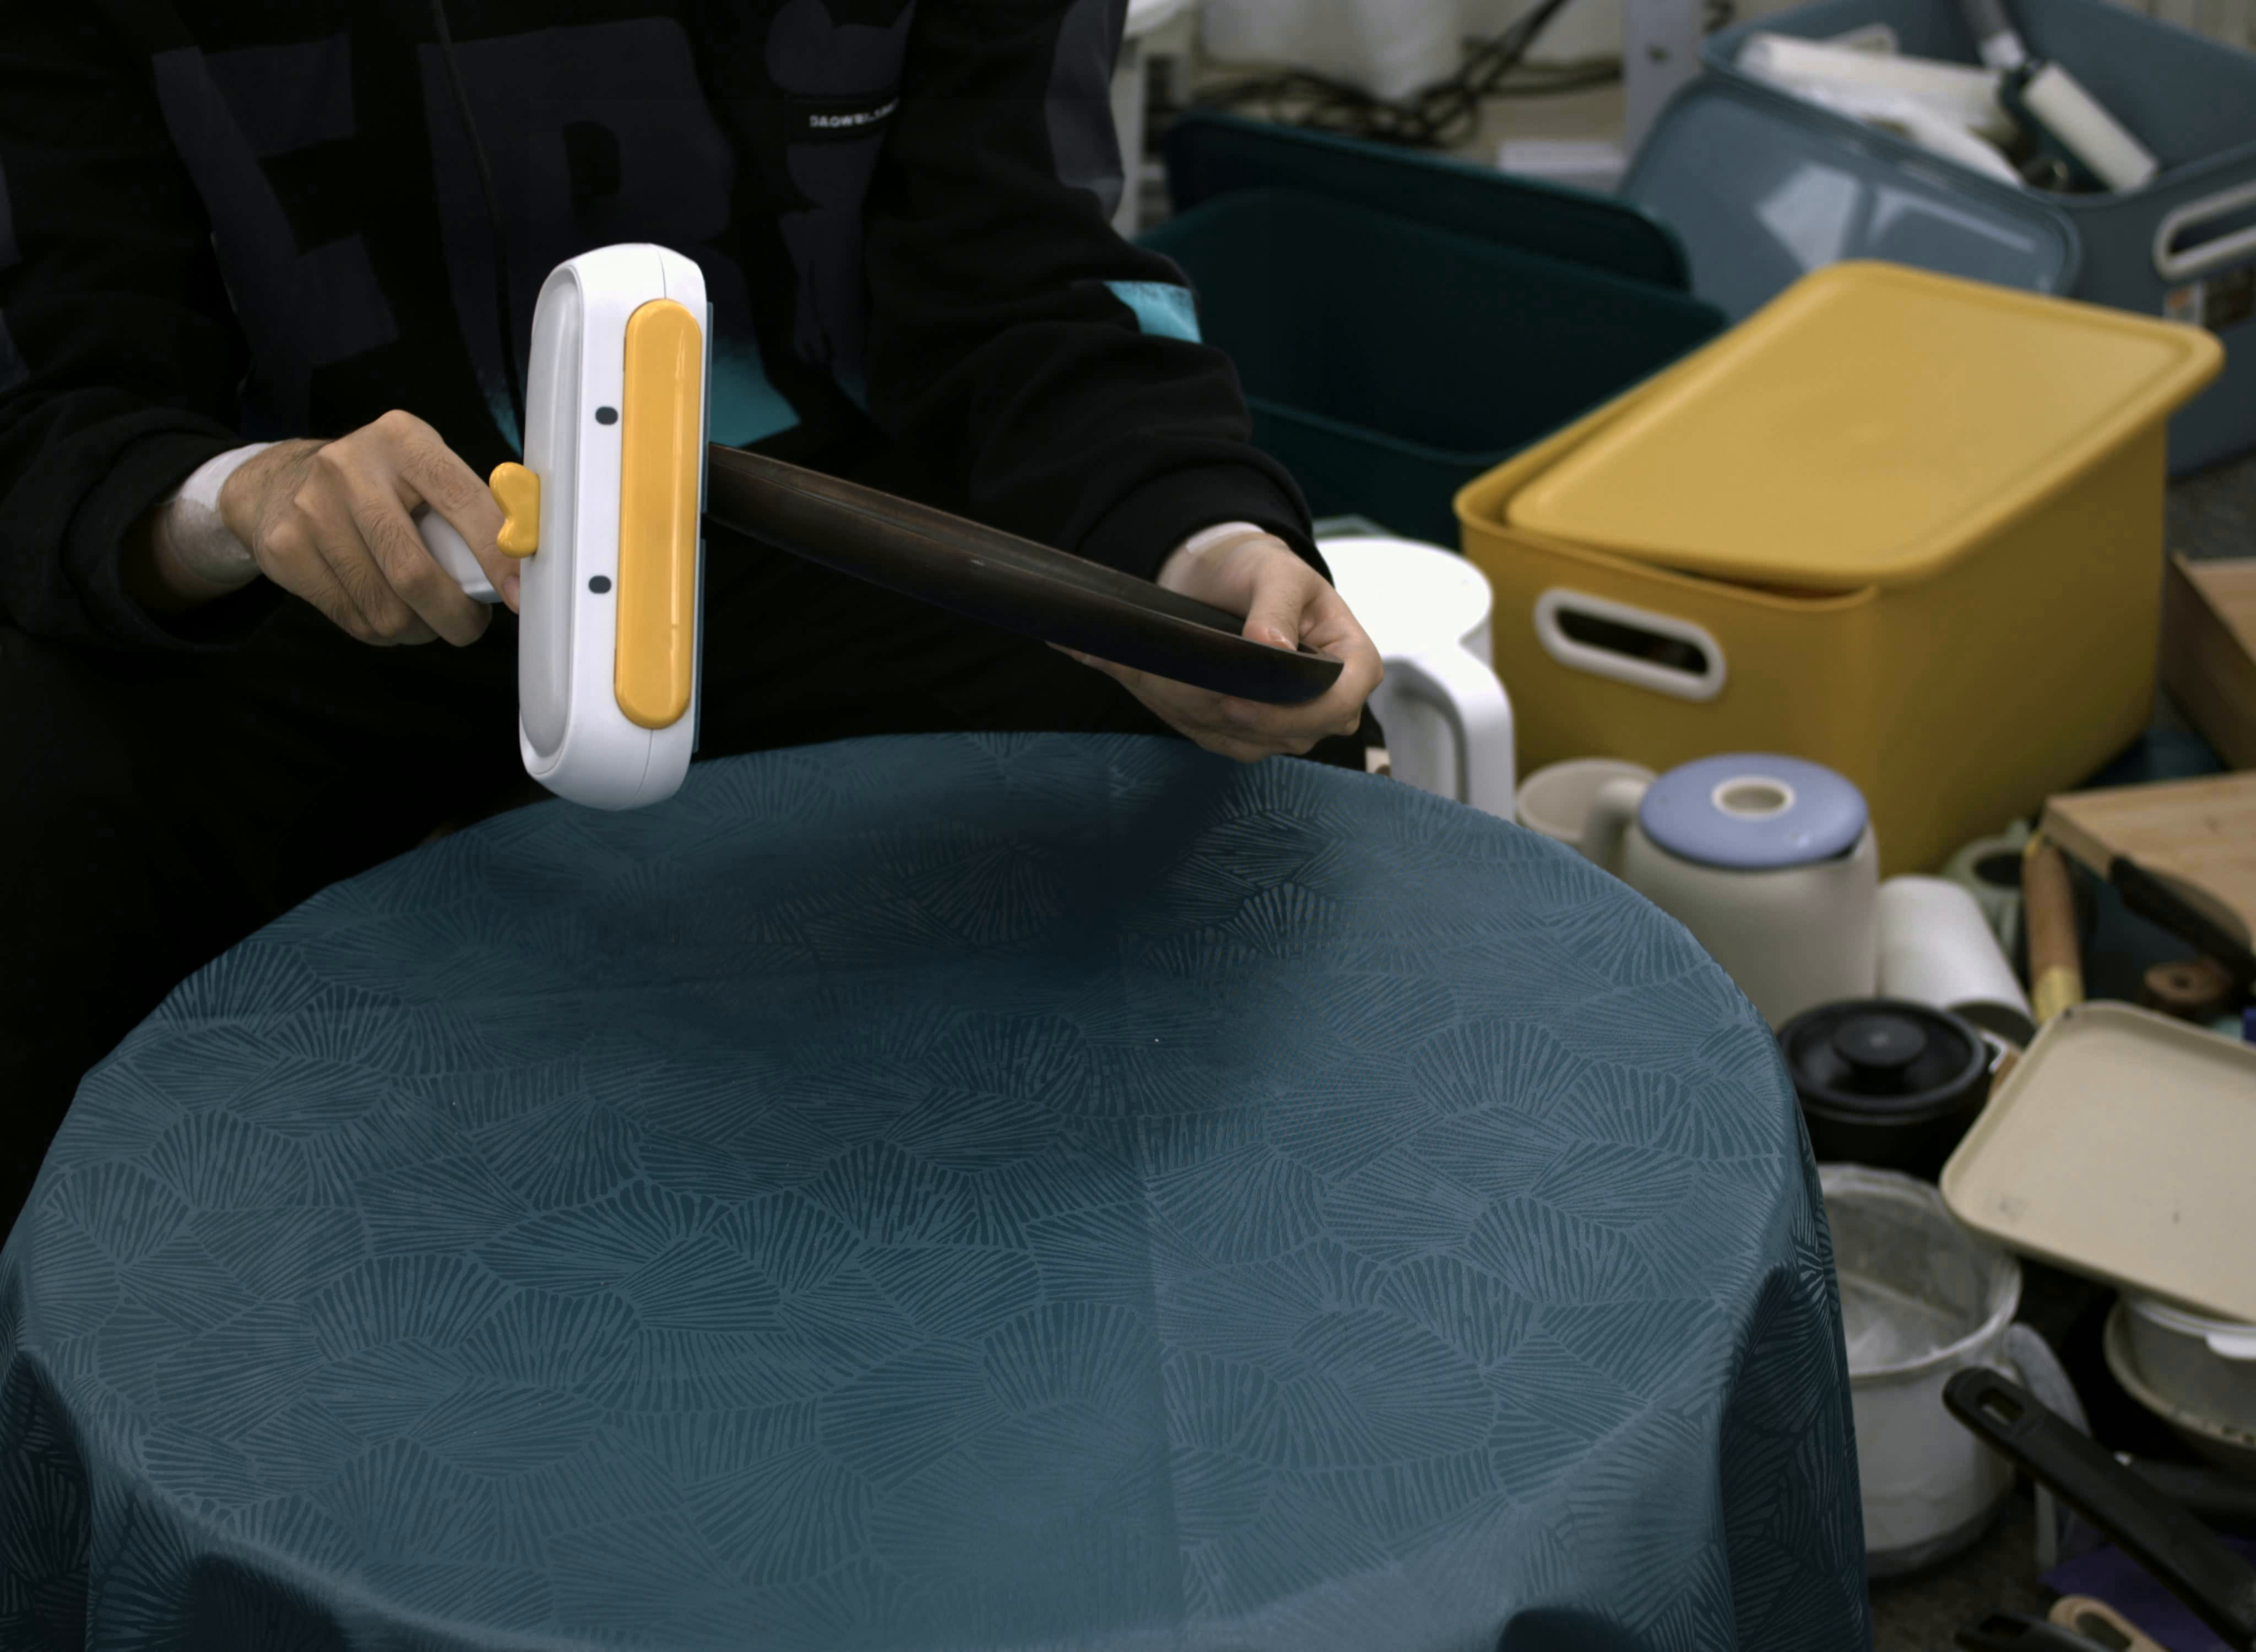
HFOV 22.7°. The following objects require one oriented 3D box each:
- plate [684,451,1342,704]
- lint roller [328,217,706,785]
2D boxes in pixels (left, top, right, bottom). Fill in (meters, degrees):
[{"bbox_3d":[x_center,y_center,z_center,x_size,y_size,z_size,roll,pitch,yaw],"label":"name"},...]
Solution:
[{"bbox_3d":[-0.047,-0.088,1.981,0.254,0.029,0.255,18,3,0],"label":"plate"},{"bbox_3d":[-0.211,-0.100,1.949,0.074,0.195,0.190,1,-11,-34],"label":"lint roller"}]
